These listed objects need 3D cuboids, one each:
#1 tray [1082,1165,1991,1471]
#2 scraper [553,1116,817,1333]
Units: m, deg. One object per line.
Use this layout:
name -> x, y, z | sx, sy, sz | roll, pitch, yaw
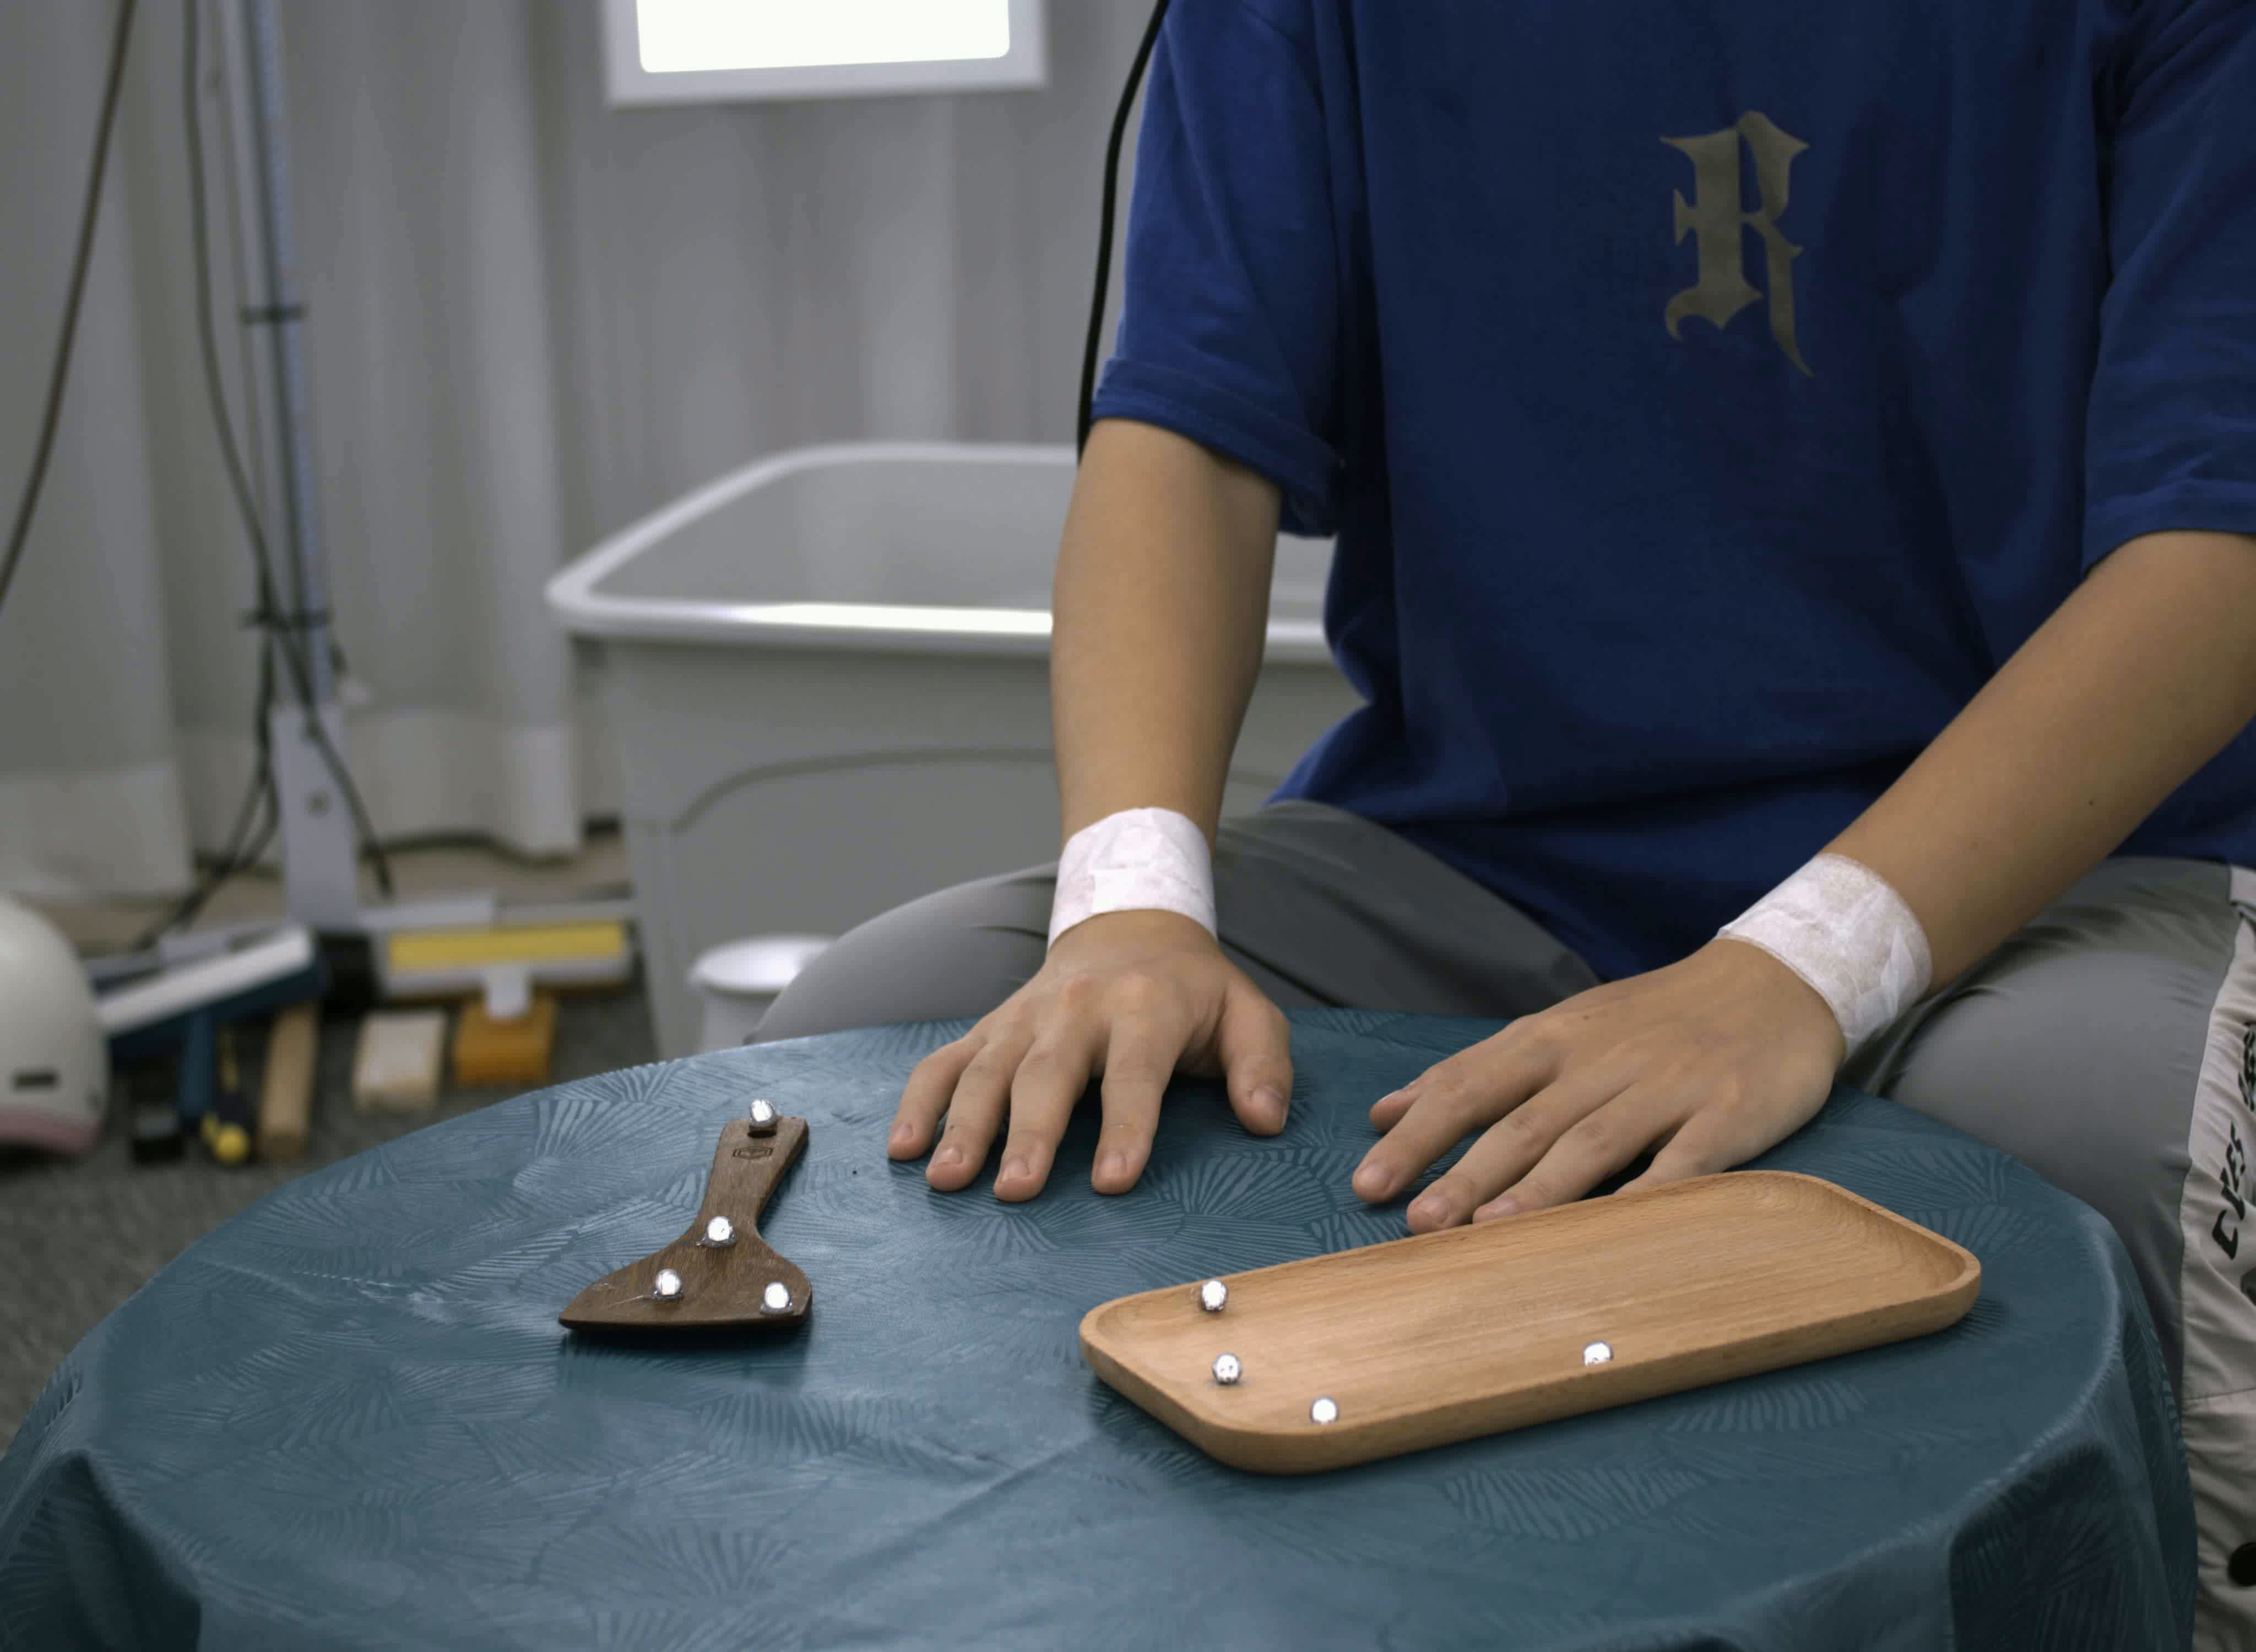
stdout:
tray -> 0.117, 0.139, 1.562 | 0.249, 0.023, 0.132 | -9, 18, -23
scraper -> -0.124, 0.123, 1.687 | 0.075, 0.011, 0.212 | -1, 14, 4
